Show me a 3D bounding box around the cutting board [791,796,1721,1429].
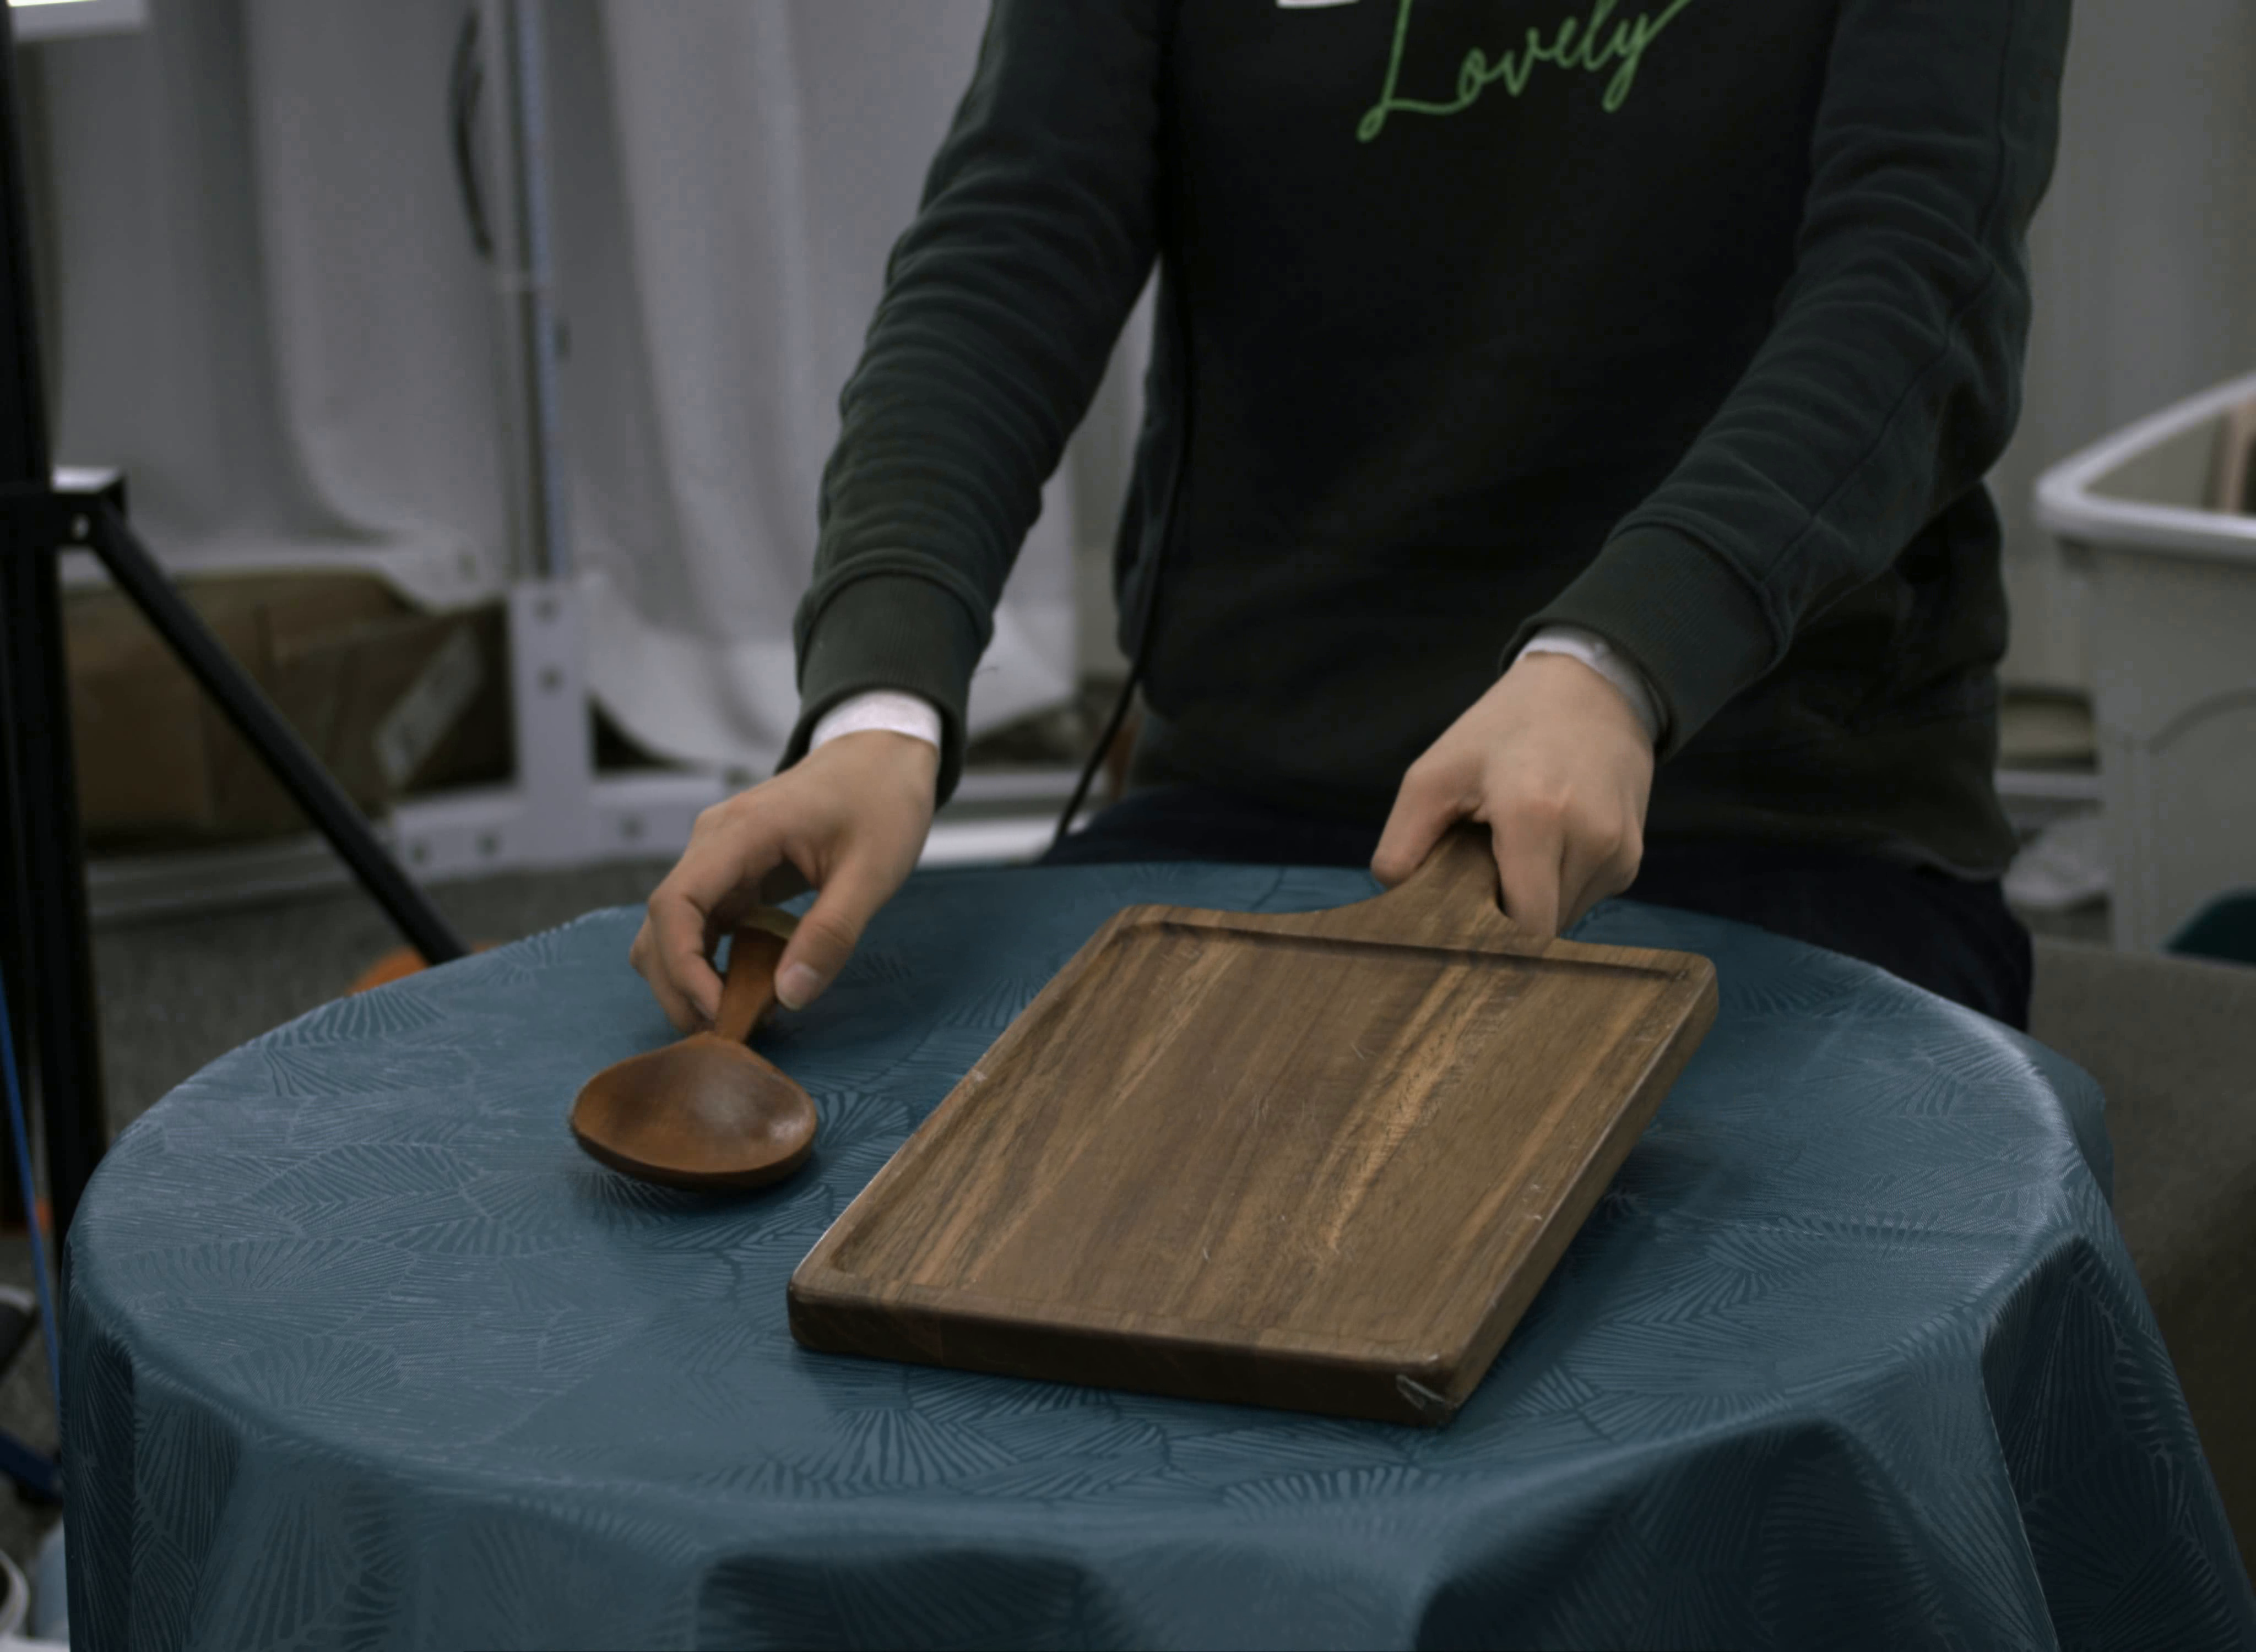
[{"bbox_3d":[0.060,0.072,1.547,0.204,0.023,0.348,3,26,24],"label":"cutting board"}]

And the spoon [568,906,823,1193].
[{"bbox_3d":[-0.122,0.070,1.656,0.075,0.017,0.216,3,21,6],"label":"spoon"}]
